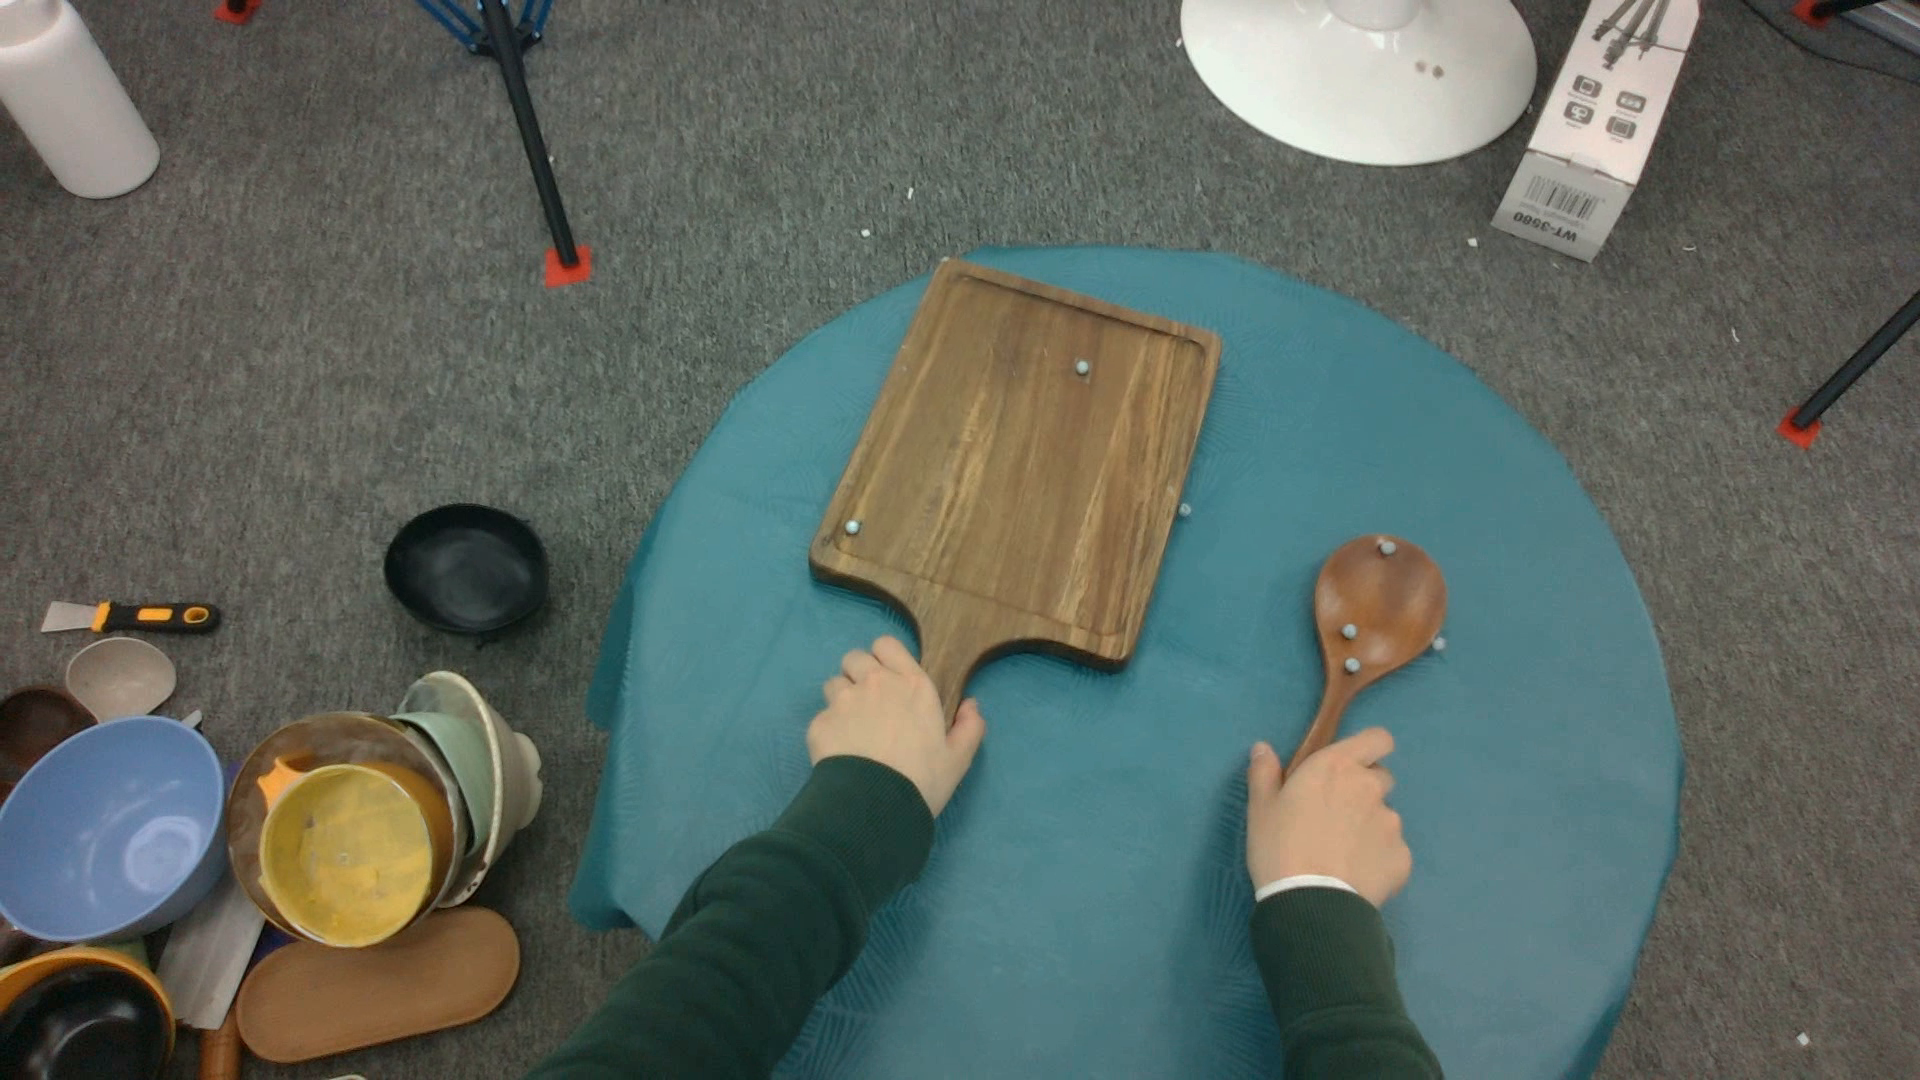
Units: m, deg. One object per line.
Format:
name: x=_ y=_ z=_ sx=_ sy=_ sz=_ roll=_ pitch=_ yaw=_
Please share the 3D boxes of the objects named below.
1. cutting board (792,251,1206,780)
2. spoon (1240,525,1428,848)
cutting board: x=0.016 y=-0.020 z=0.819 sx=0.201 sy=0.023 sz=0.354 roll=18 pitch=60 yaw=5
spoon: x=0.205 y=0.079 z=0.775 sx=0.075 sy=0.017 sz=0.217 roll=27 pitch=60 yaw=9
